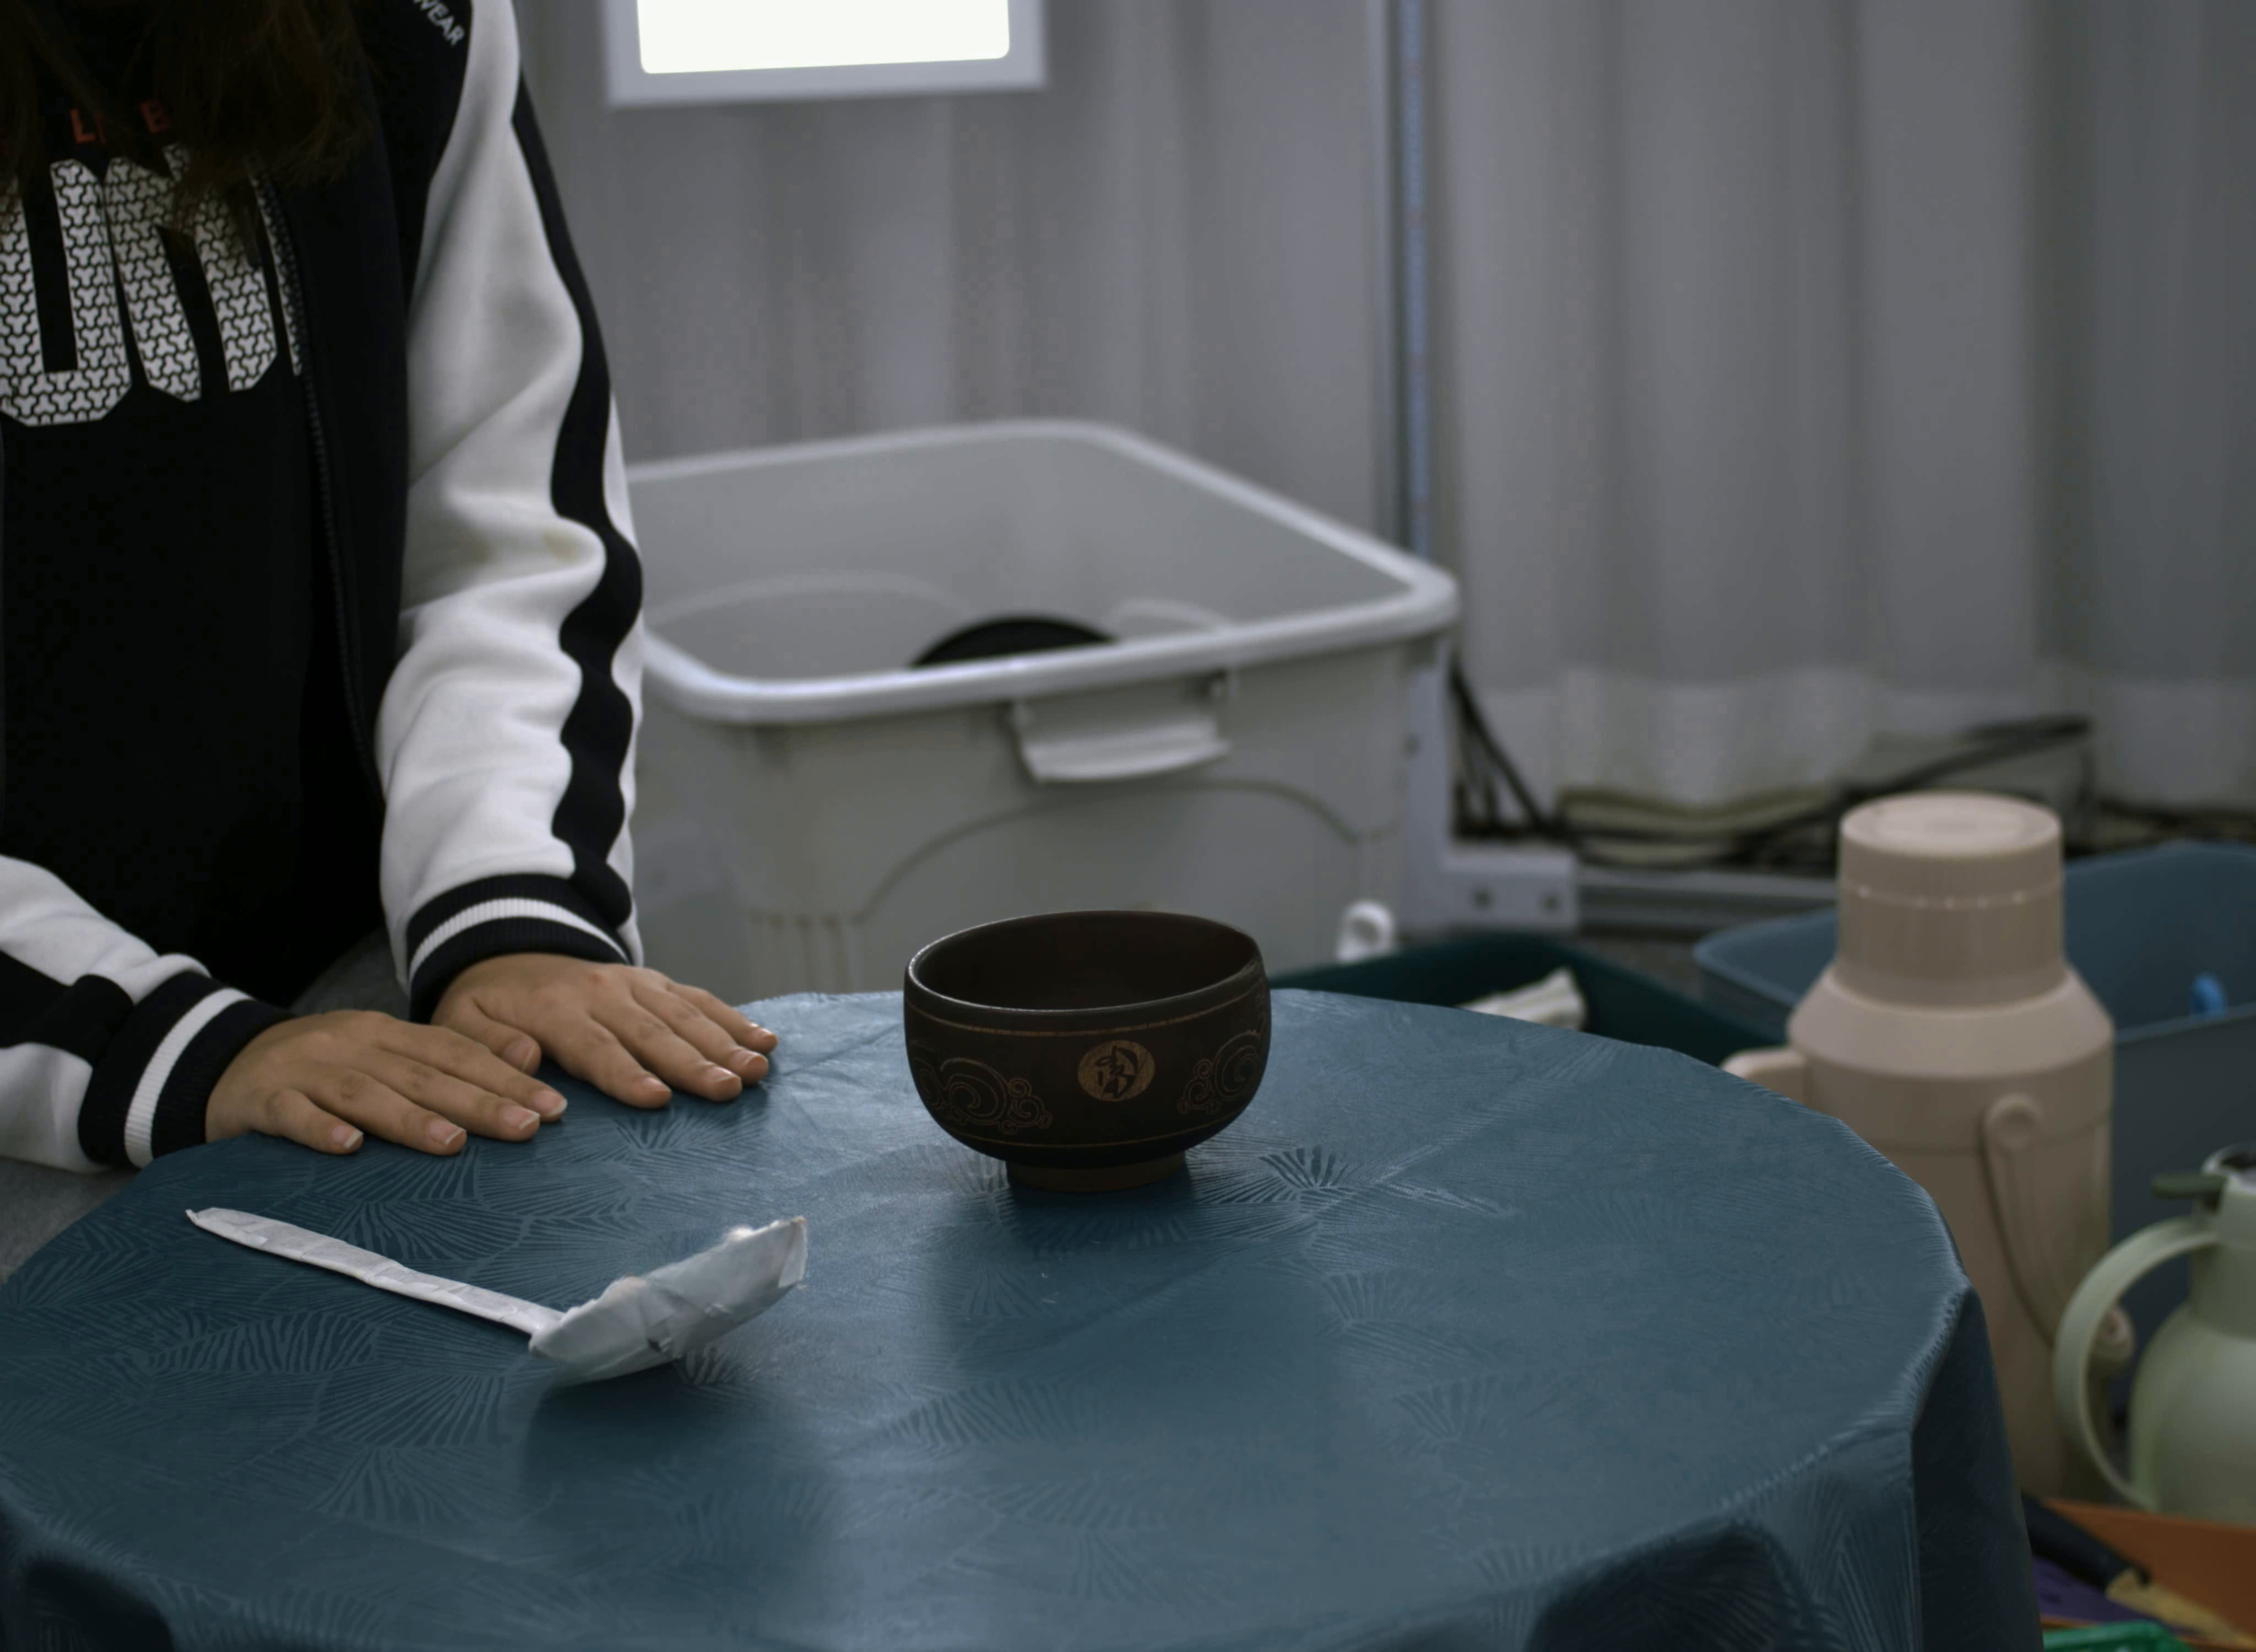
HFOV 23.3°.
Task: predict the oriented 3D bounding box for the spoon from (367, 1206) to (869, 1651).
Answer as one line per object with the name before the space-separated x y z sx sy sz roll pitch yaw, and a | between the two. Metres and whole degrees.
spoon | -0.174 0.215 1.585 0.060 0.277 0.100 36 8 24

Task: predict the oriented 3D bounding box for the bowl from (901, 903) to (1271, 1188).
bowl | -0.013 0.073 1.732 0.117 0.069 0.119 -3 14 0
